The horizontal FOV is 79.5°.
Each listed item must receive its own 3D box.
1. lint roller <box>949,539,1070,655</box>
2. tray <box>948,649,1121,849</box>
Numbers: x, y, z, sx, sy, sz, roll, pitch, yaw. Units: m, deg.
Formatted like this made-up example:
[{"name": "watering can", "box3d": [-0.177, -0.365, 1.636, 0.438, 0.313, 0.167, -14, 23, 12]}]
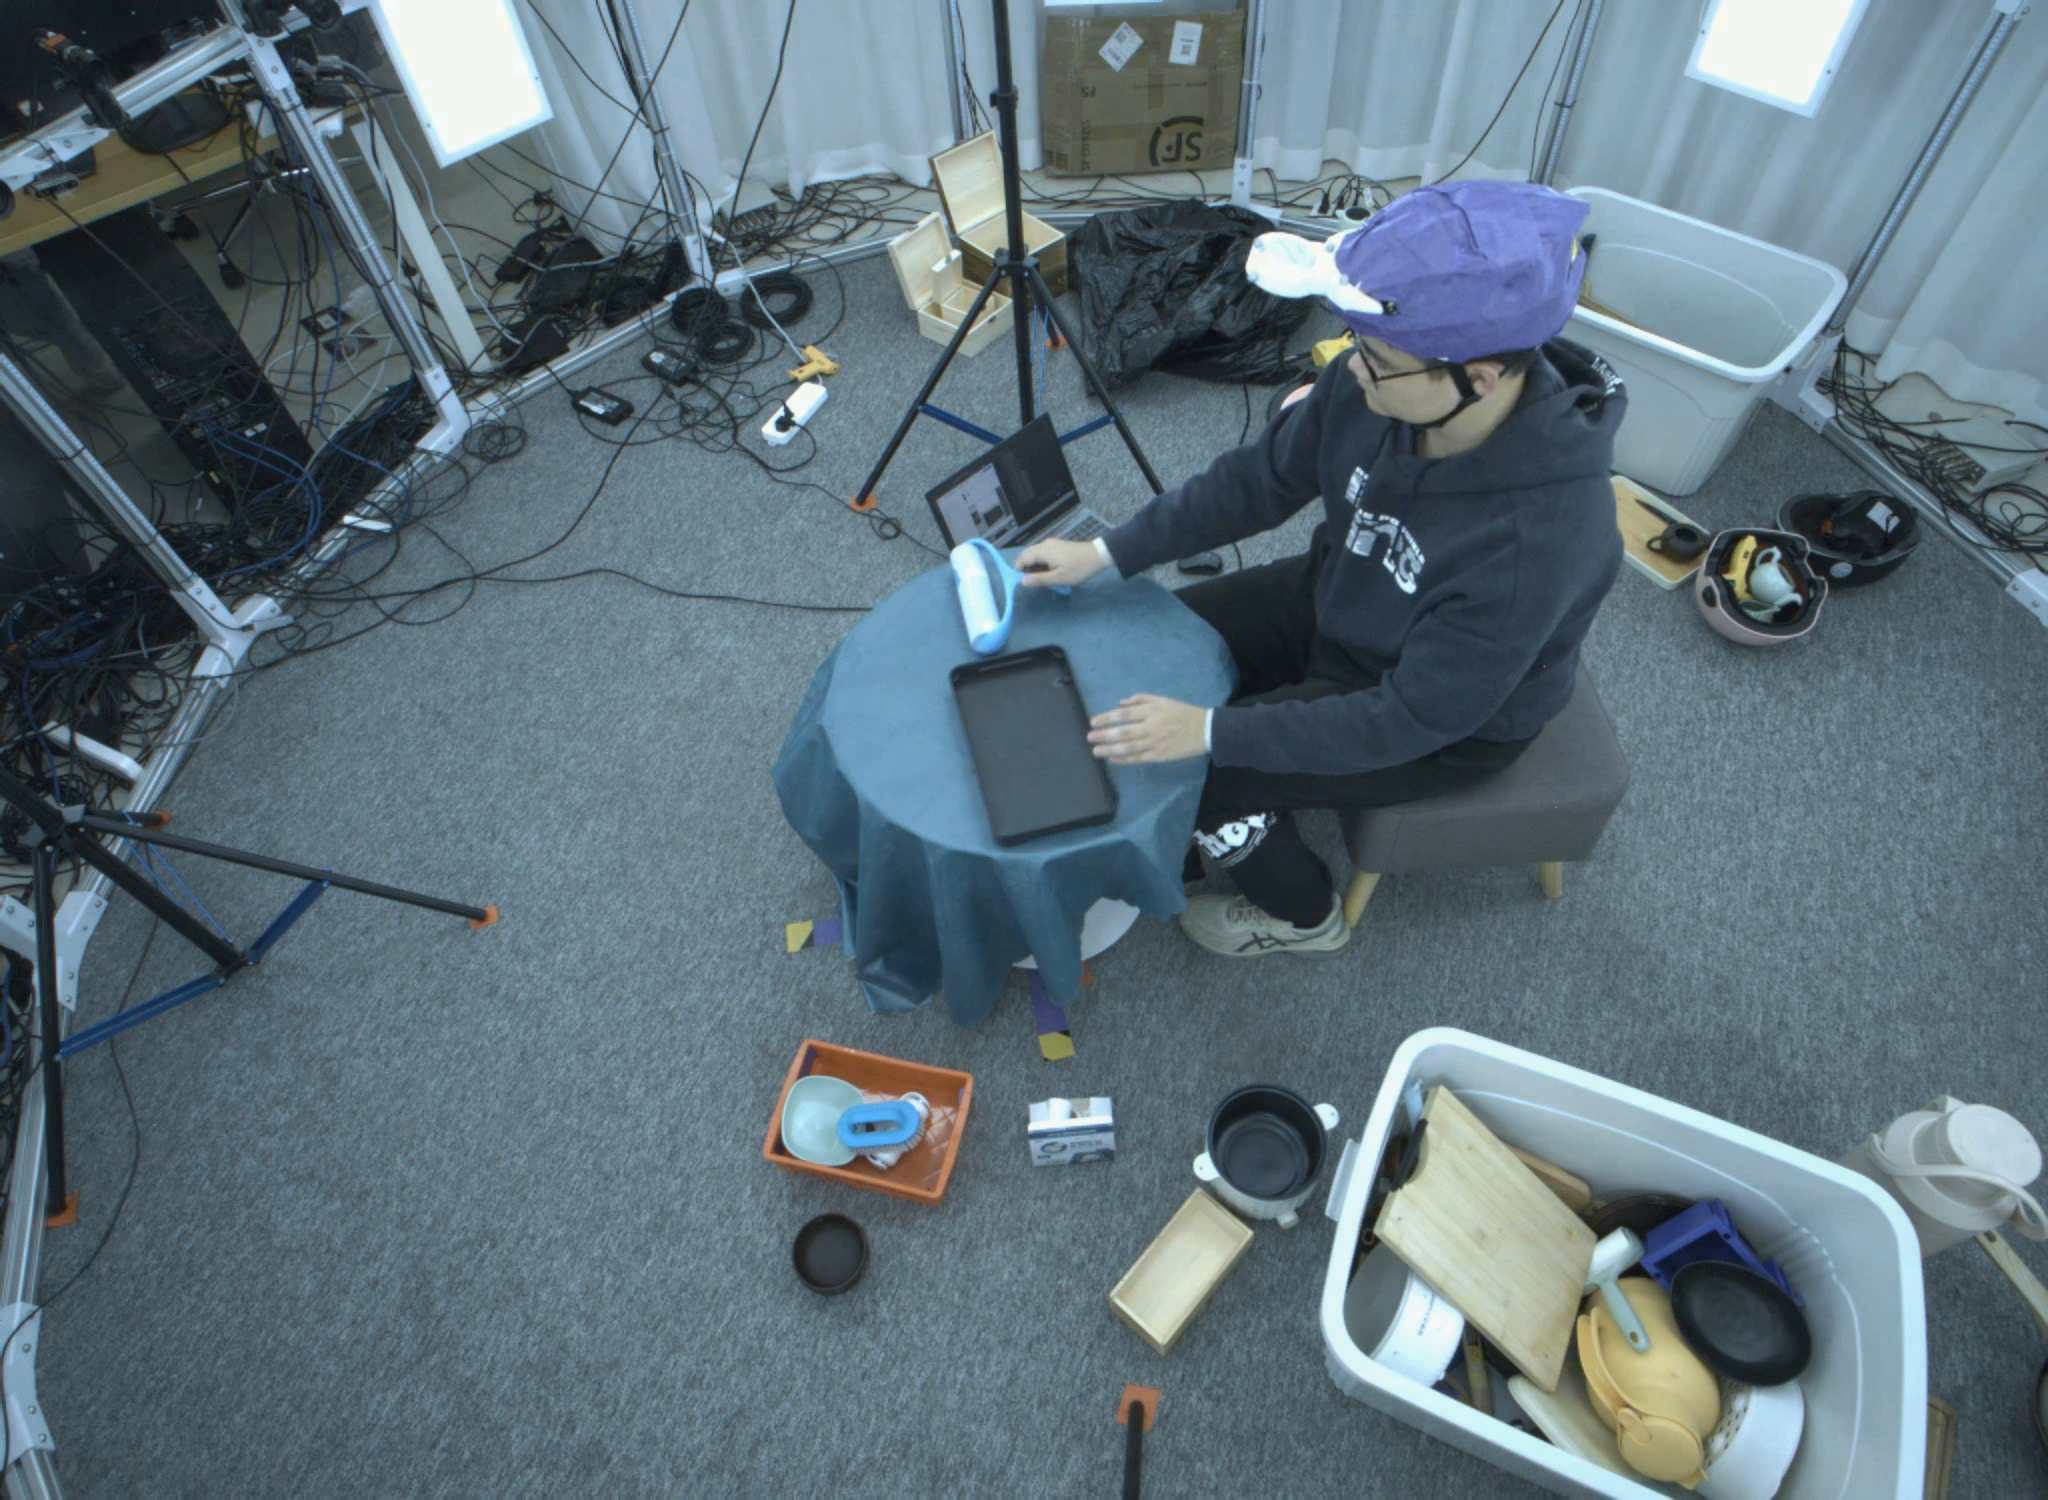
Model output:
[{"name": "lint roller", "box3d": [-0.019, -0.254, 1.930, 0.181, 0.069, 0.225, -14, 54, -6]}, {"name": "tray", "box3d": [0.011, -0.007, 1.775, 0.185, 0.037, 0.312, -13, 53, -8]}]
